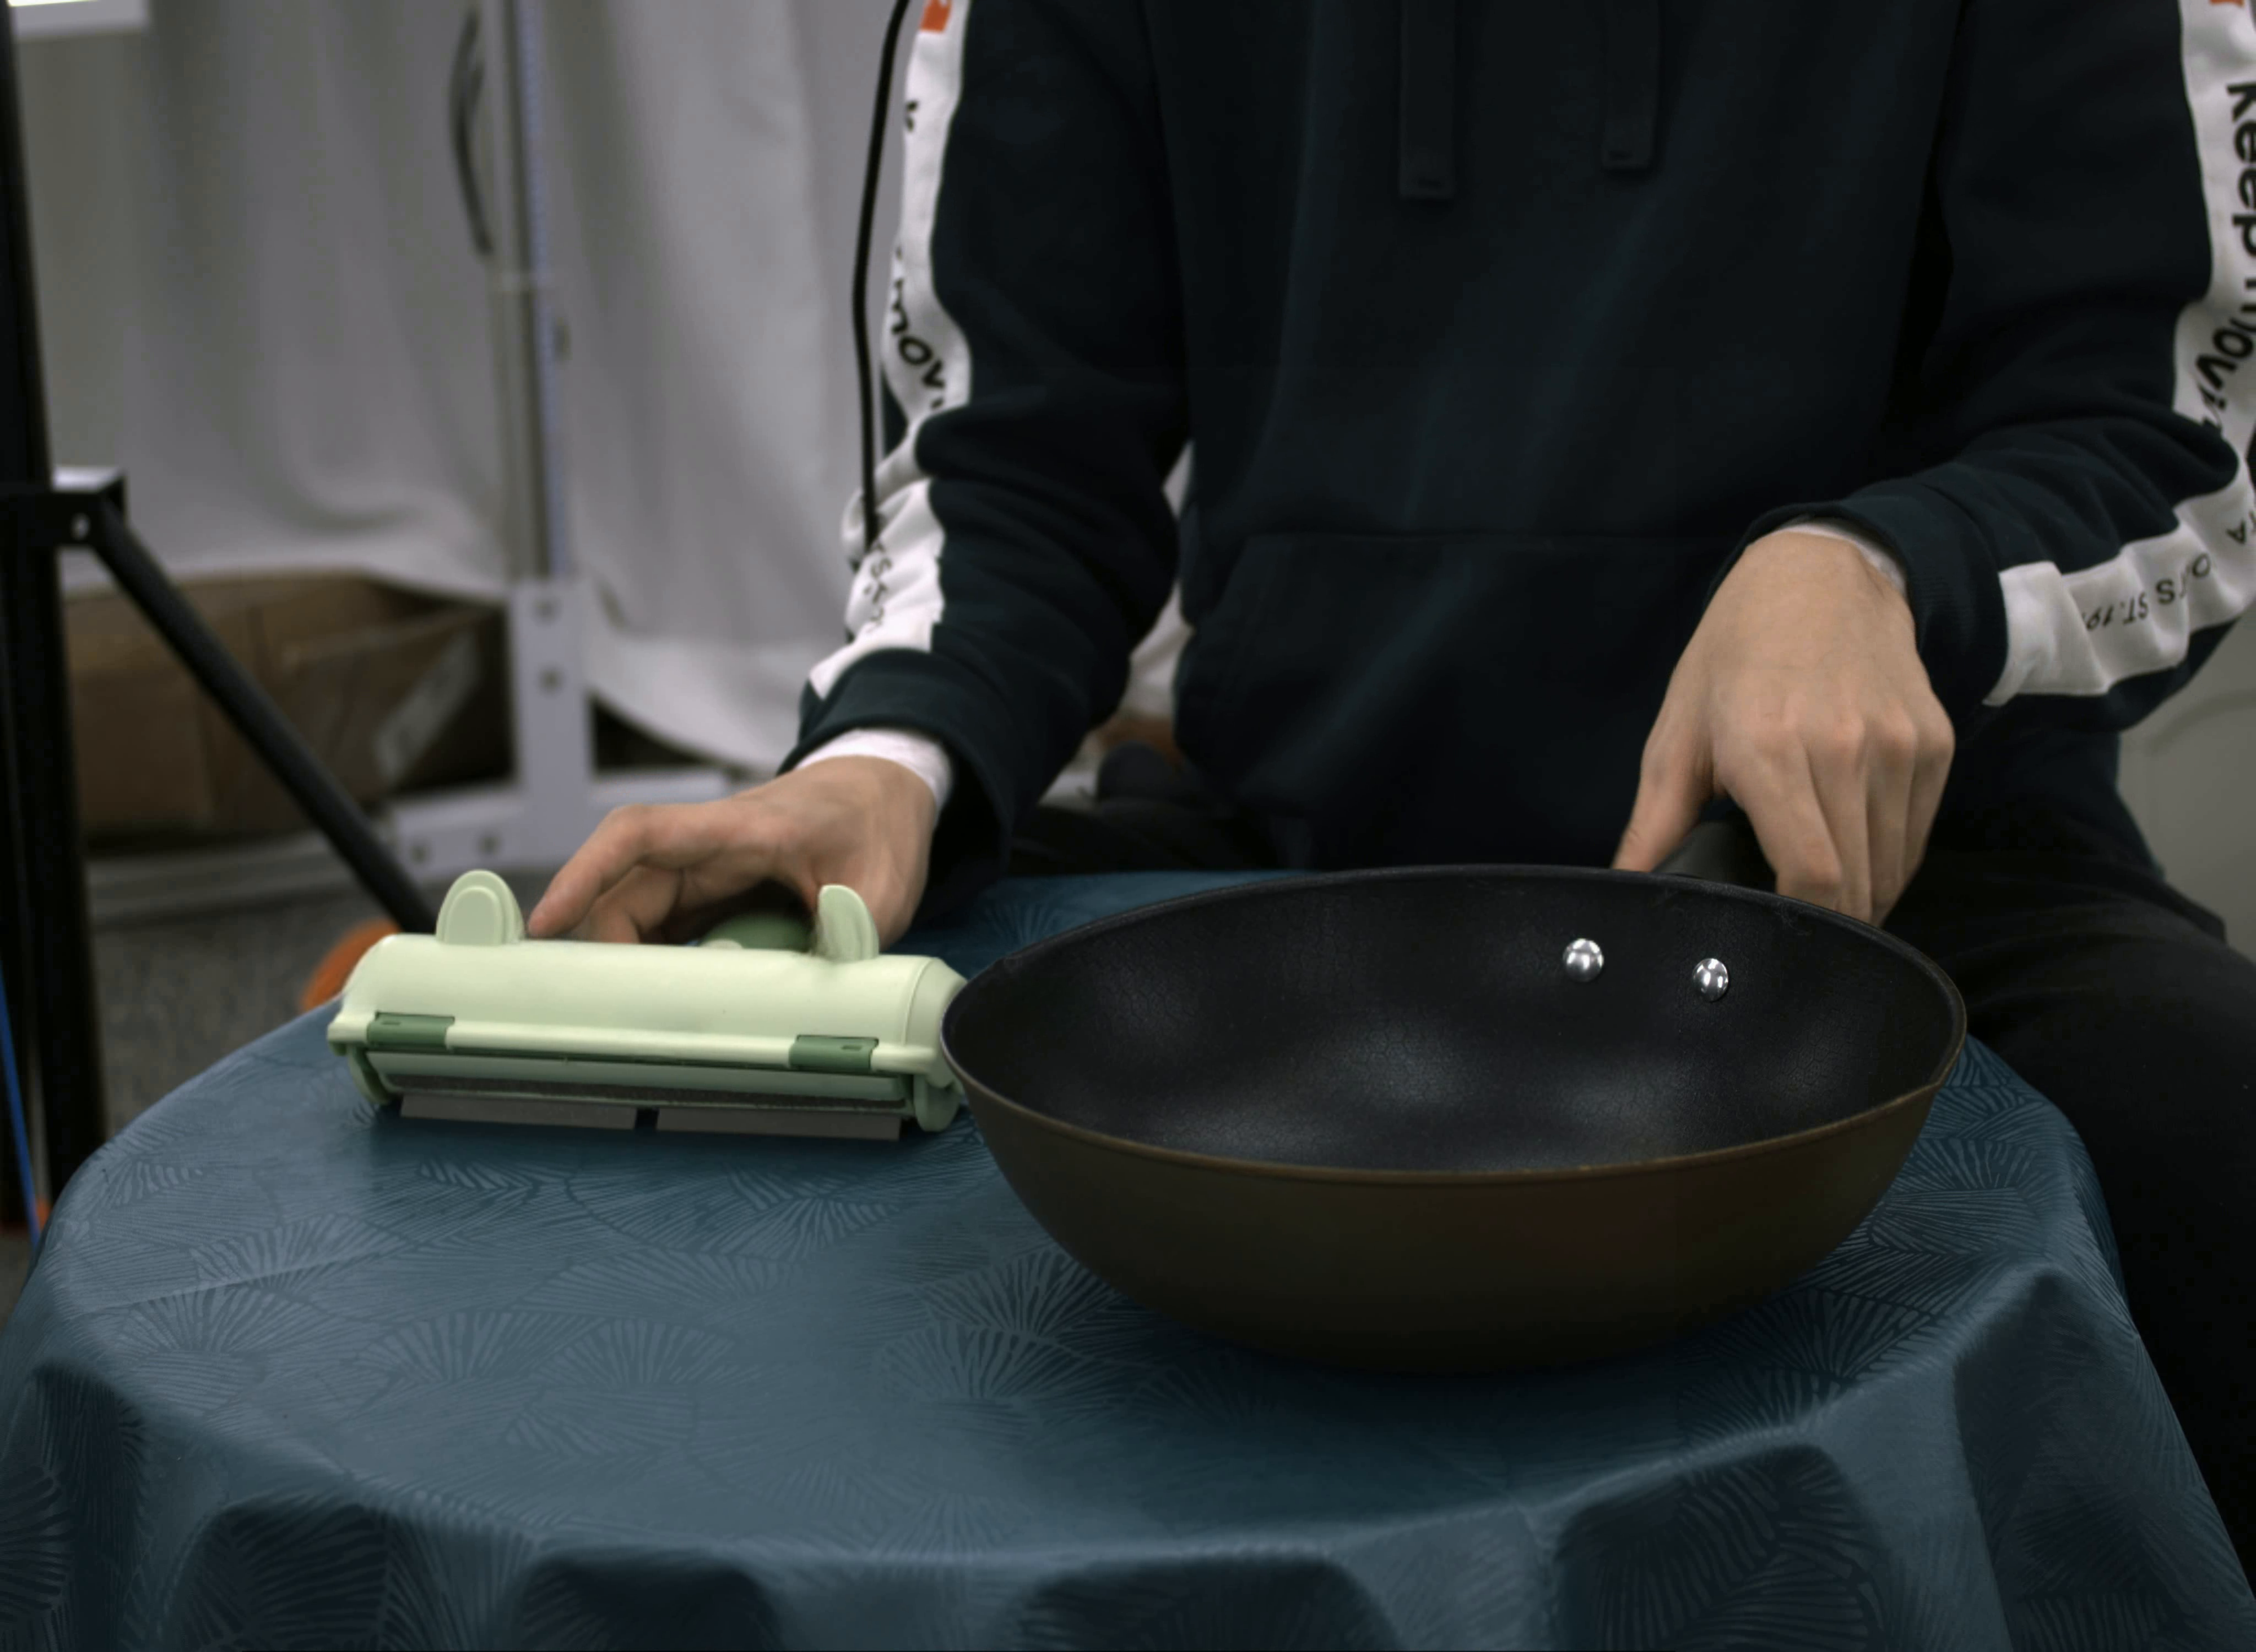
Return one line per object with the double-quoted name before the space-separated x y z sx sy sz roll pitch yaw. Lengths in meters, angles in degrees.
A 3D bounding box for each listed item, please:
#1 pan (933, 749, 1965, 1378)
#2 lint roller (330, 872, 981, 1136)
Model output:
"pan" 0.132 0.065 1.535 0.293 0.087 0.455 7 18 30
"lint roller" -0.131 0.038 1.690 0.200 0.082 0.182 2 22 16
